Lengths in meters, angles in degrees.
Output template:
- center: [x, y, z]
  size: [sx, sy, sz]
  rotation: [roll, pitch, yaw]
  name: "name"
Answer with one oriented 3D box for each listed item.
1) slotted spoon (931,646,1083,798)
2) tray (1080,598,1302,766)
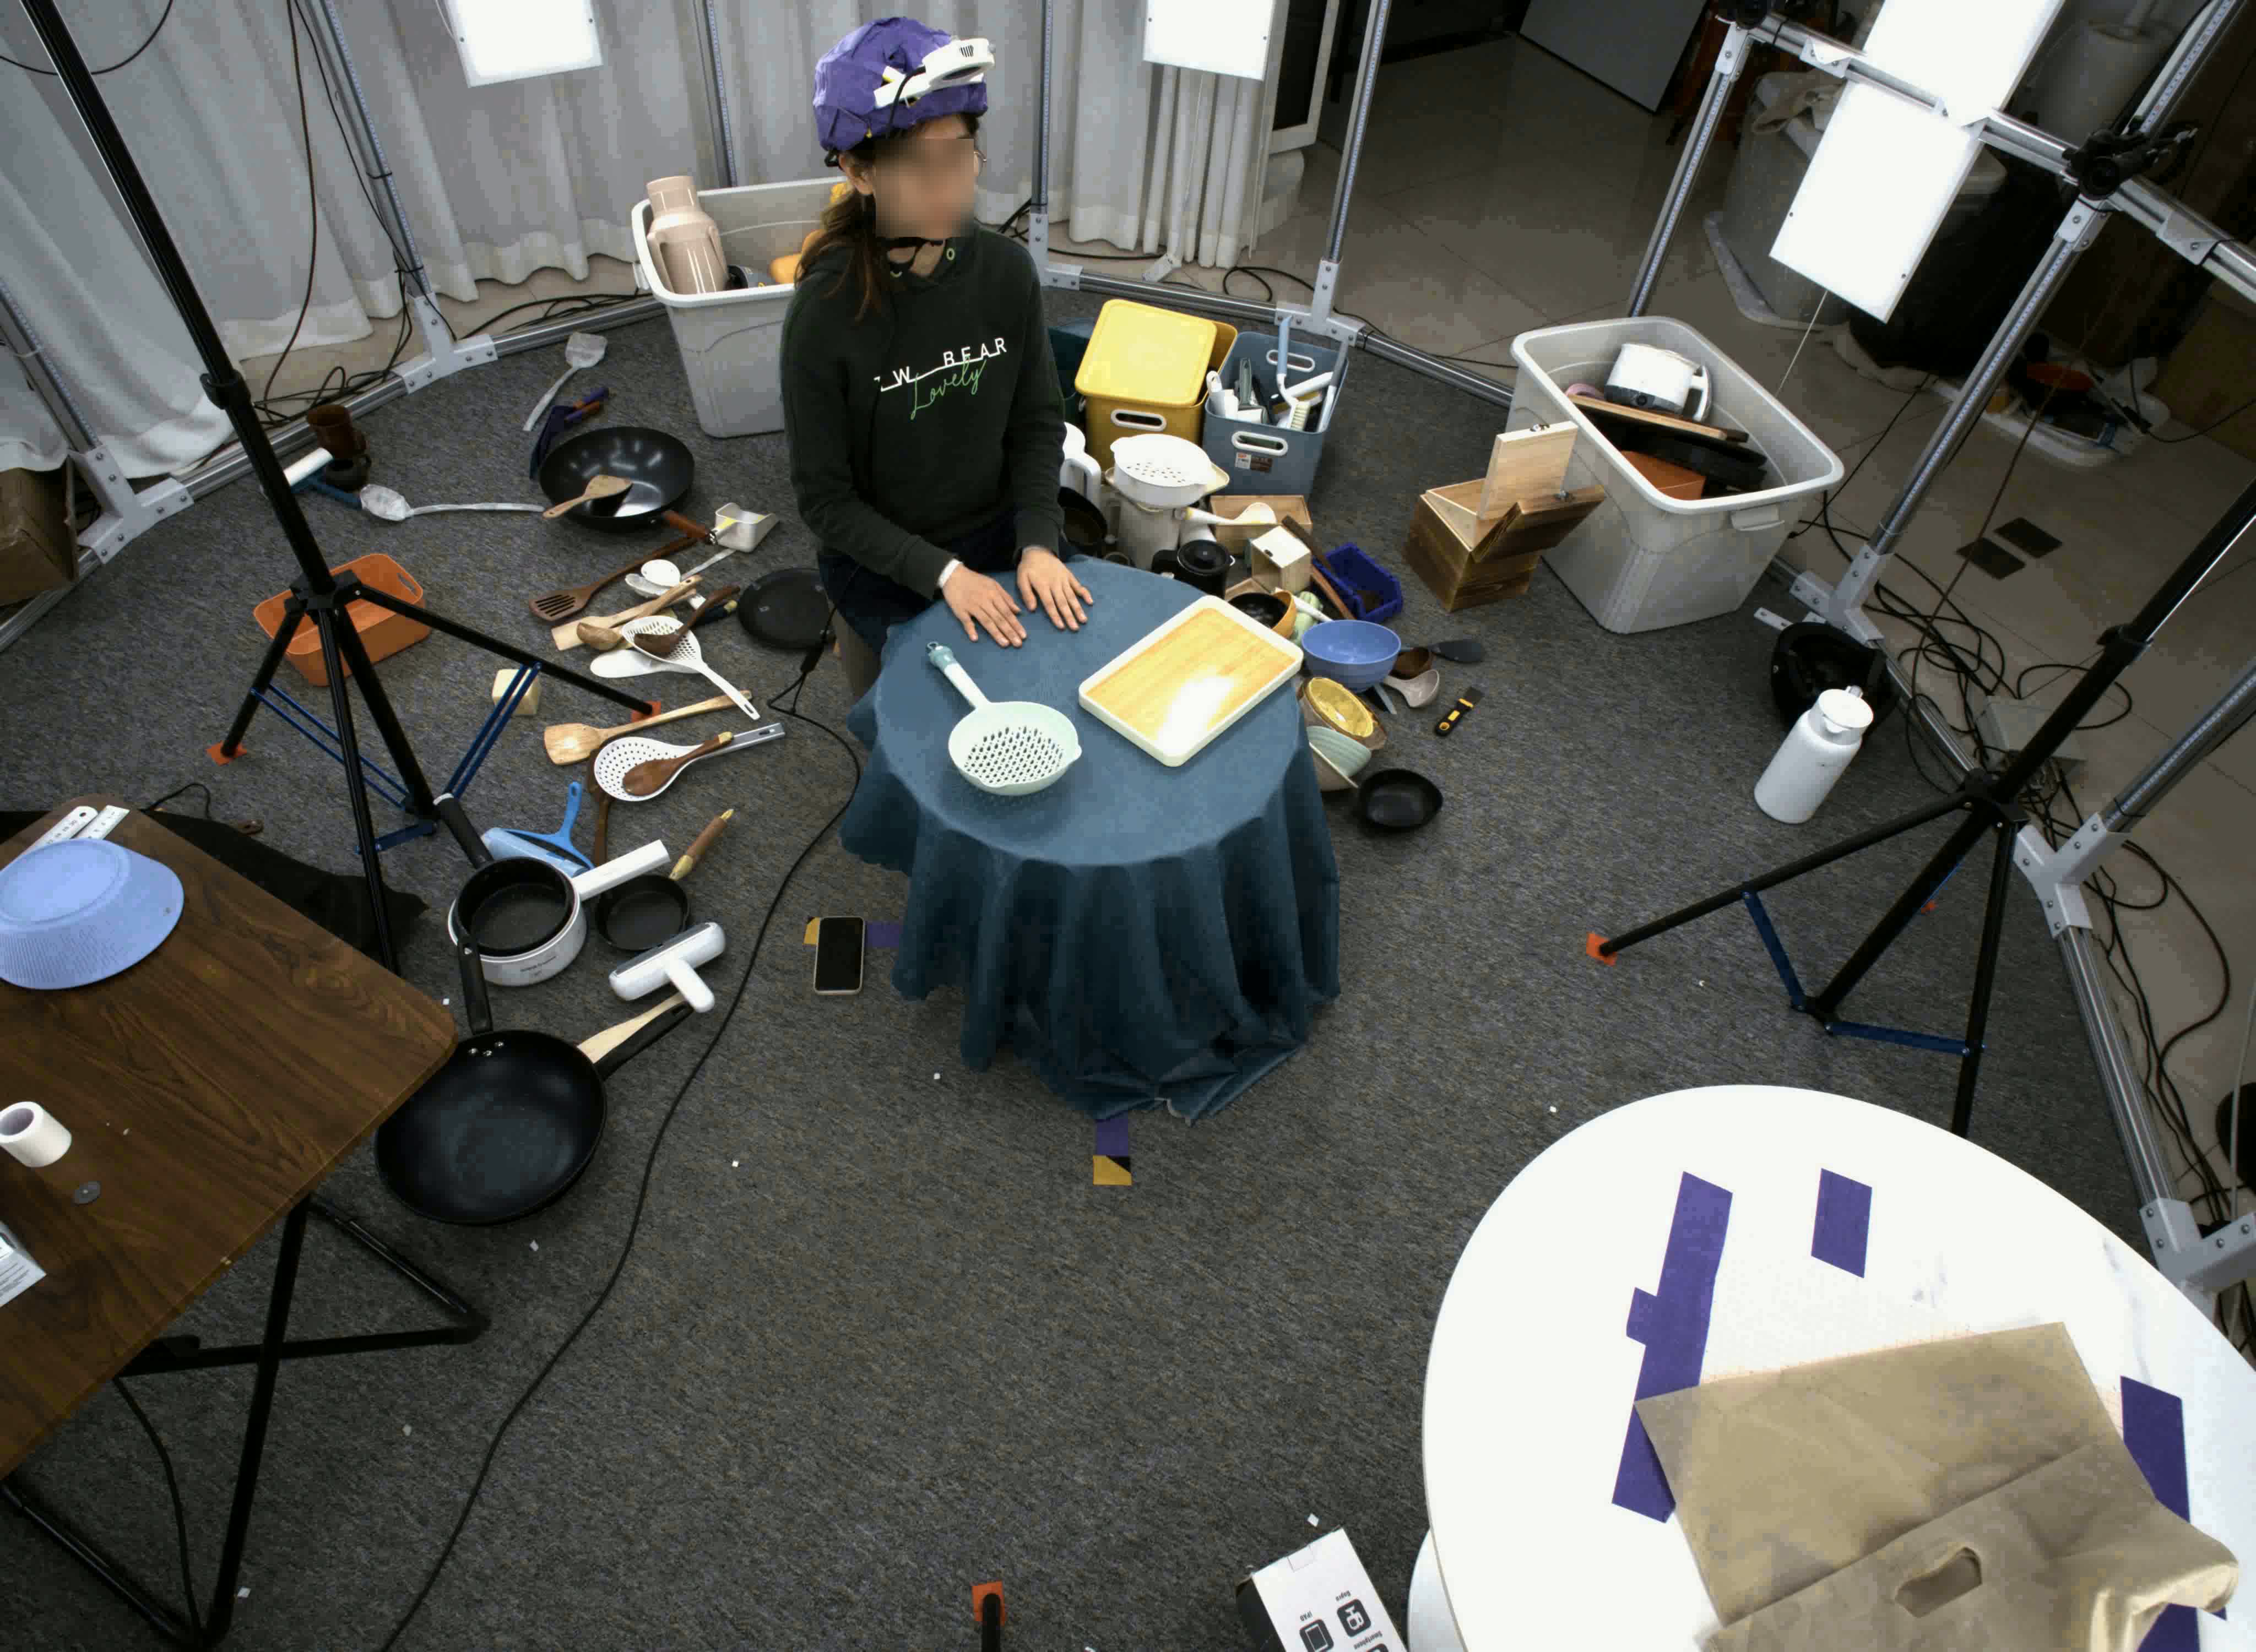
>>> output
- center: [-0.197, -0.160, 1.768]
  size: [0.170, 0.073, 0.366]
  rotation: [-20, 53, -21]
  name: "slotted spoon"
- center: [0.093, -0.214, 1.860]
  size: [0.194, 0.027, 0.303]
  rotation: [36, 55, 25]
  name: "tray"
